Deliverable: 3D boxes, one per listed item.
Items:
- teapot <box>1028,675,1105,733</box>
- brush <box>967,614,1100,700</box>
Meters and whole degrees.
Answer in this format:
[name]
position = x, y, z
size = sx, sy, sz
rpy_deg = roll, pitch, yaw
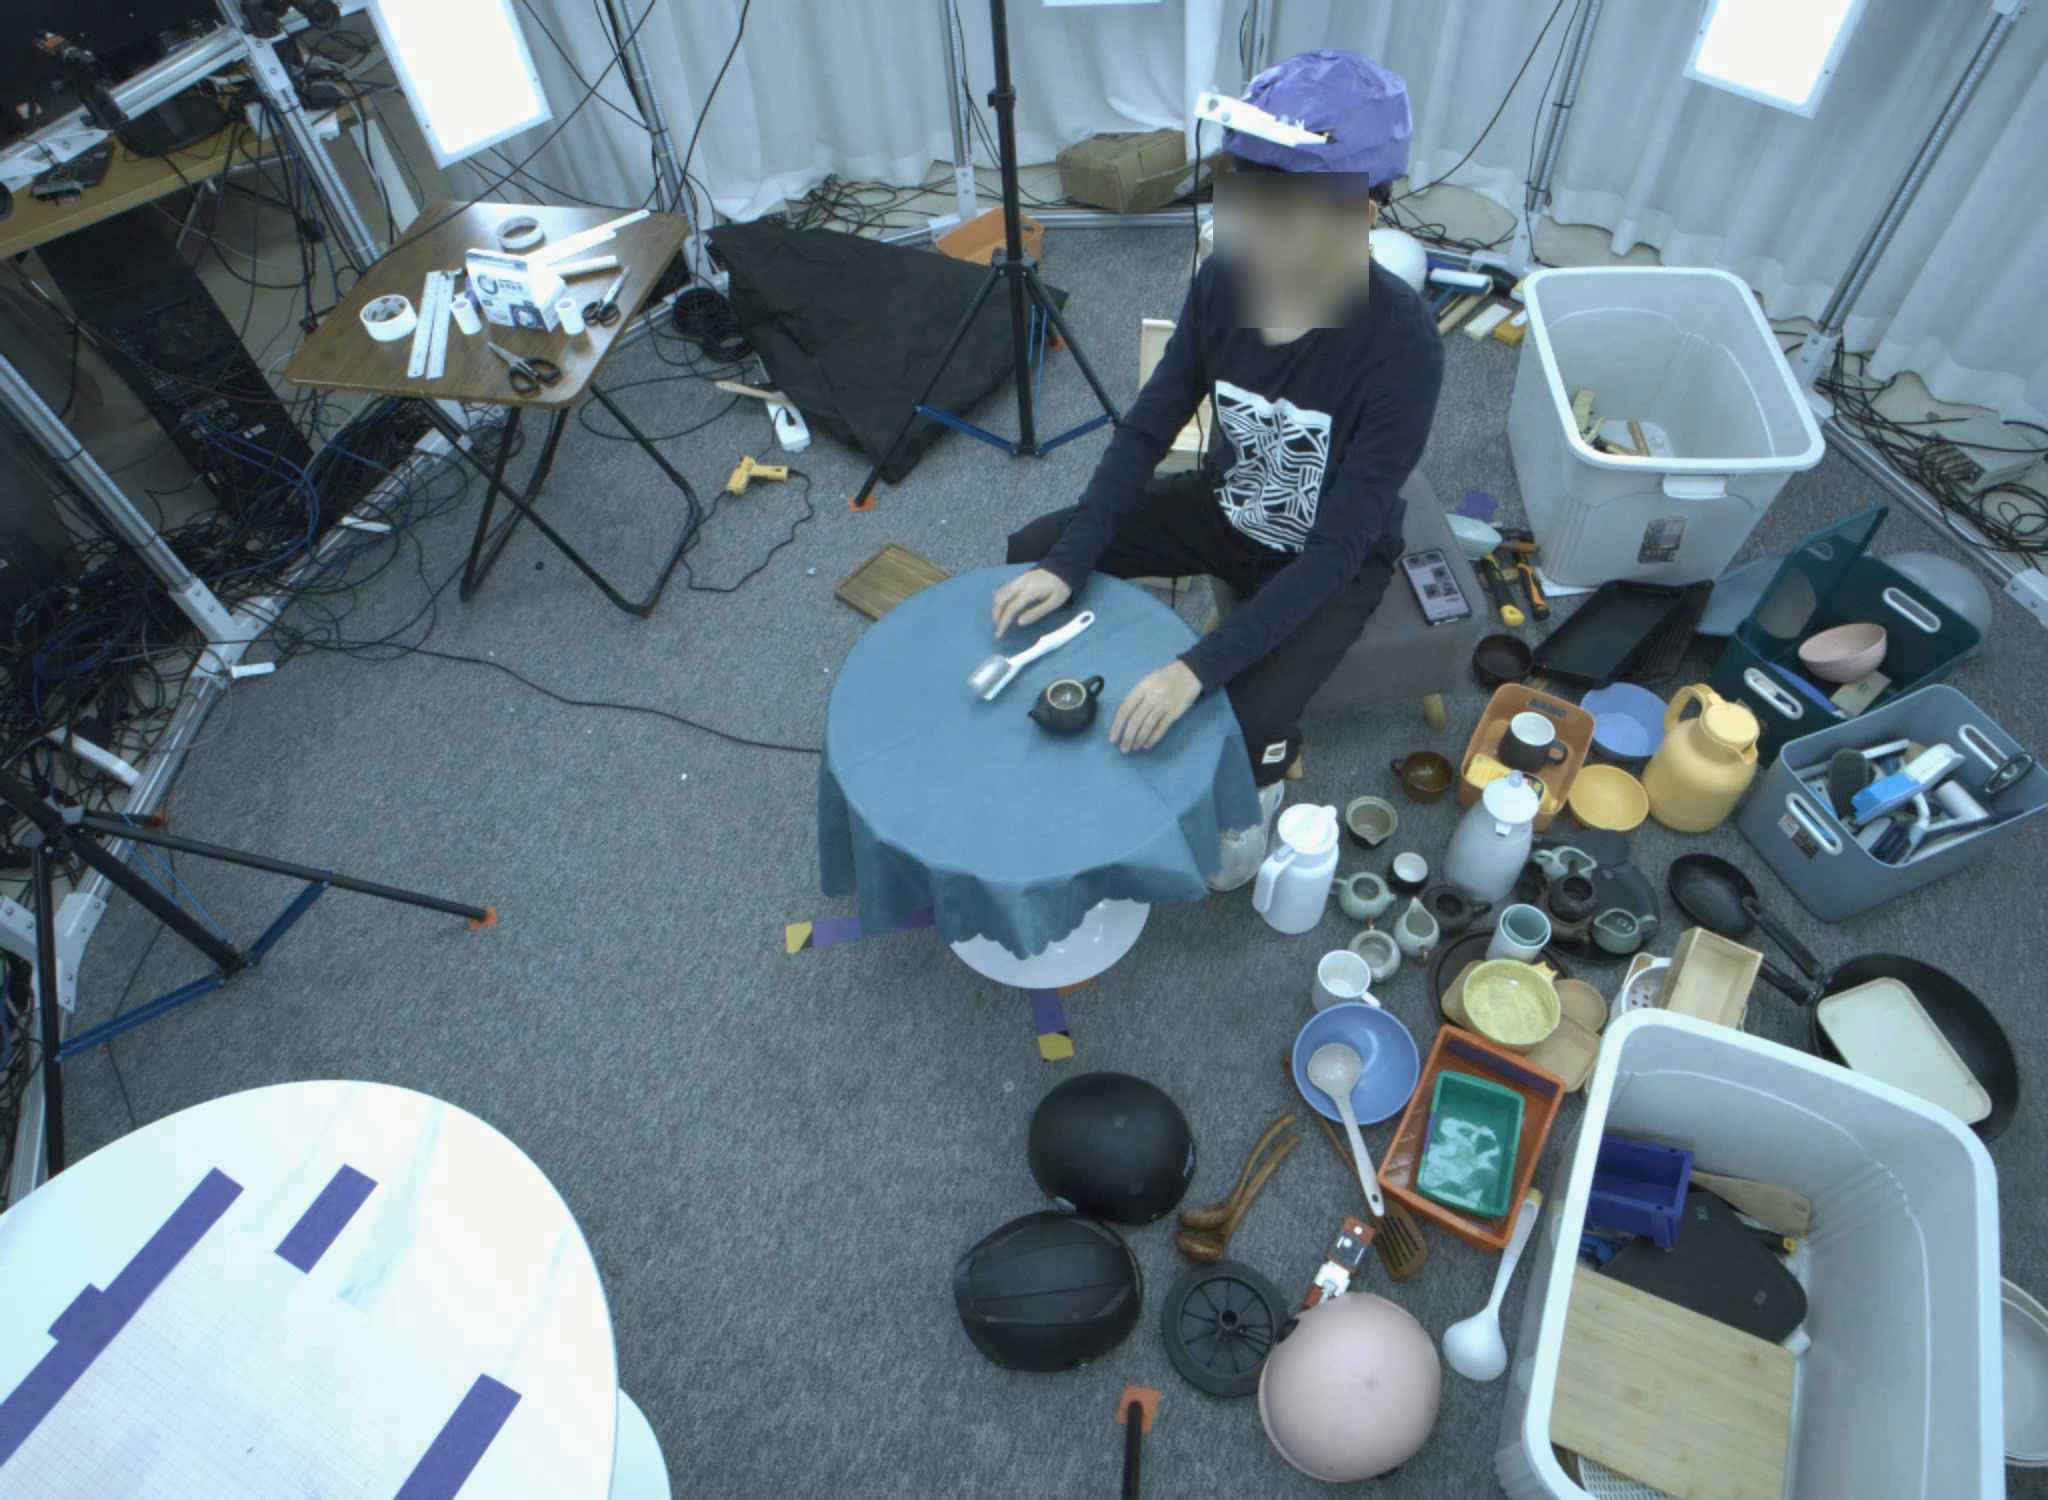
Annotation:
[teapot]
position = 0.063, -0.067, 1.792
size = 0.134, 0.053, 0.089
rpy_deg = -30, 62, -18
[brush]
position = 0.018, -0.155, 1.860
size = 0.245, 0.051, 0.033
rpy_deg = -35, 54, -20
